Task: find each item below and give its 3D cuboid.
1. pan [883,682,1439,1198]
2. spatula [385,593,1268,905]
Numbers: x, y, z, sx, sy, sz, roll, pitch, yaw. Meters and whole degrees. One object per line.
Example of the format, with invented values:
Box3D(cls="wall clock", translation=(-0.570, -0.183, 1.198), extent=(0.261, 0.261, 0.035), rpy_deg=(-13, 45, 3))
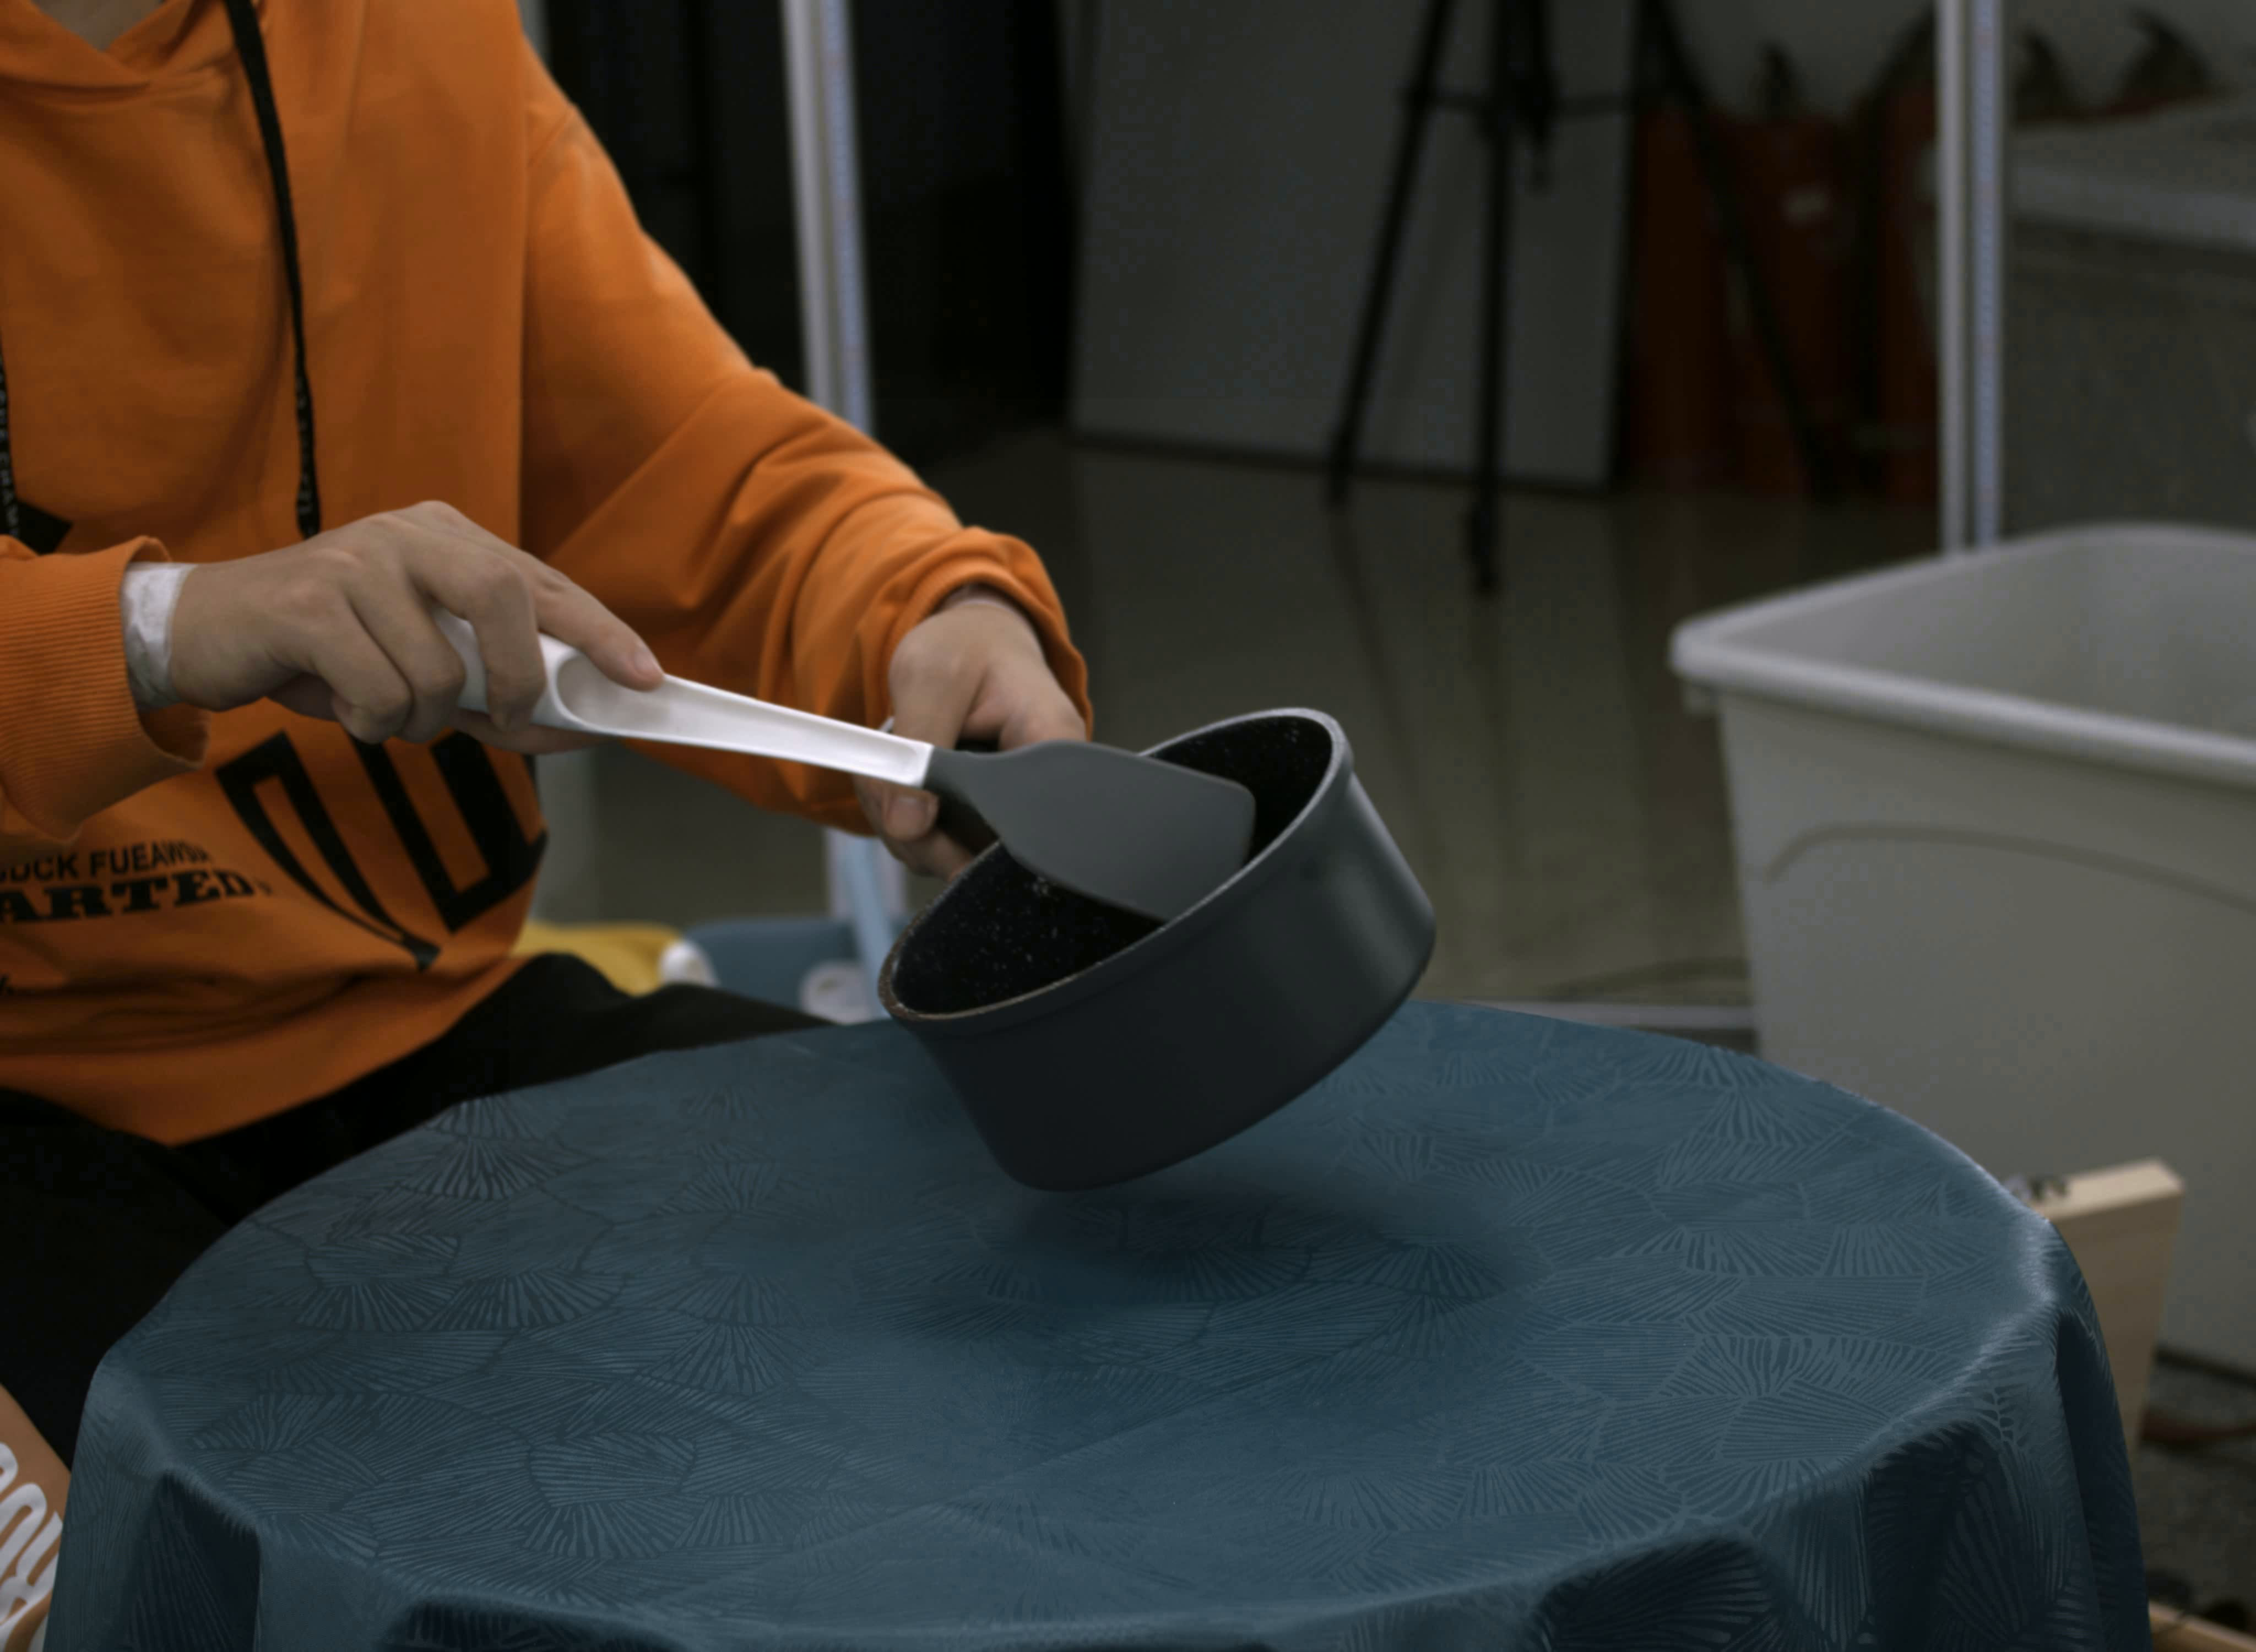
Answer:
Box3D(cls="pan", translation=(-0.010, 0.023, 1.789), extent=(0.170, 0.086, 0.331), rpy_deg=(-33, 19, -7))
Box3D(cls="spatula", translation=(-0.097, -0.028, 1.727), extent=(0.285, 0.059, 0.032), rpy_deg=(13, -19, 7))
